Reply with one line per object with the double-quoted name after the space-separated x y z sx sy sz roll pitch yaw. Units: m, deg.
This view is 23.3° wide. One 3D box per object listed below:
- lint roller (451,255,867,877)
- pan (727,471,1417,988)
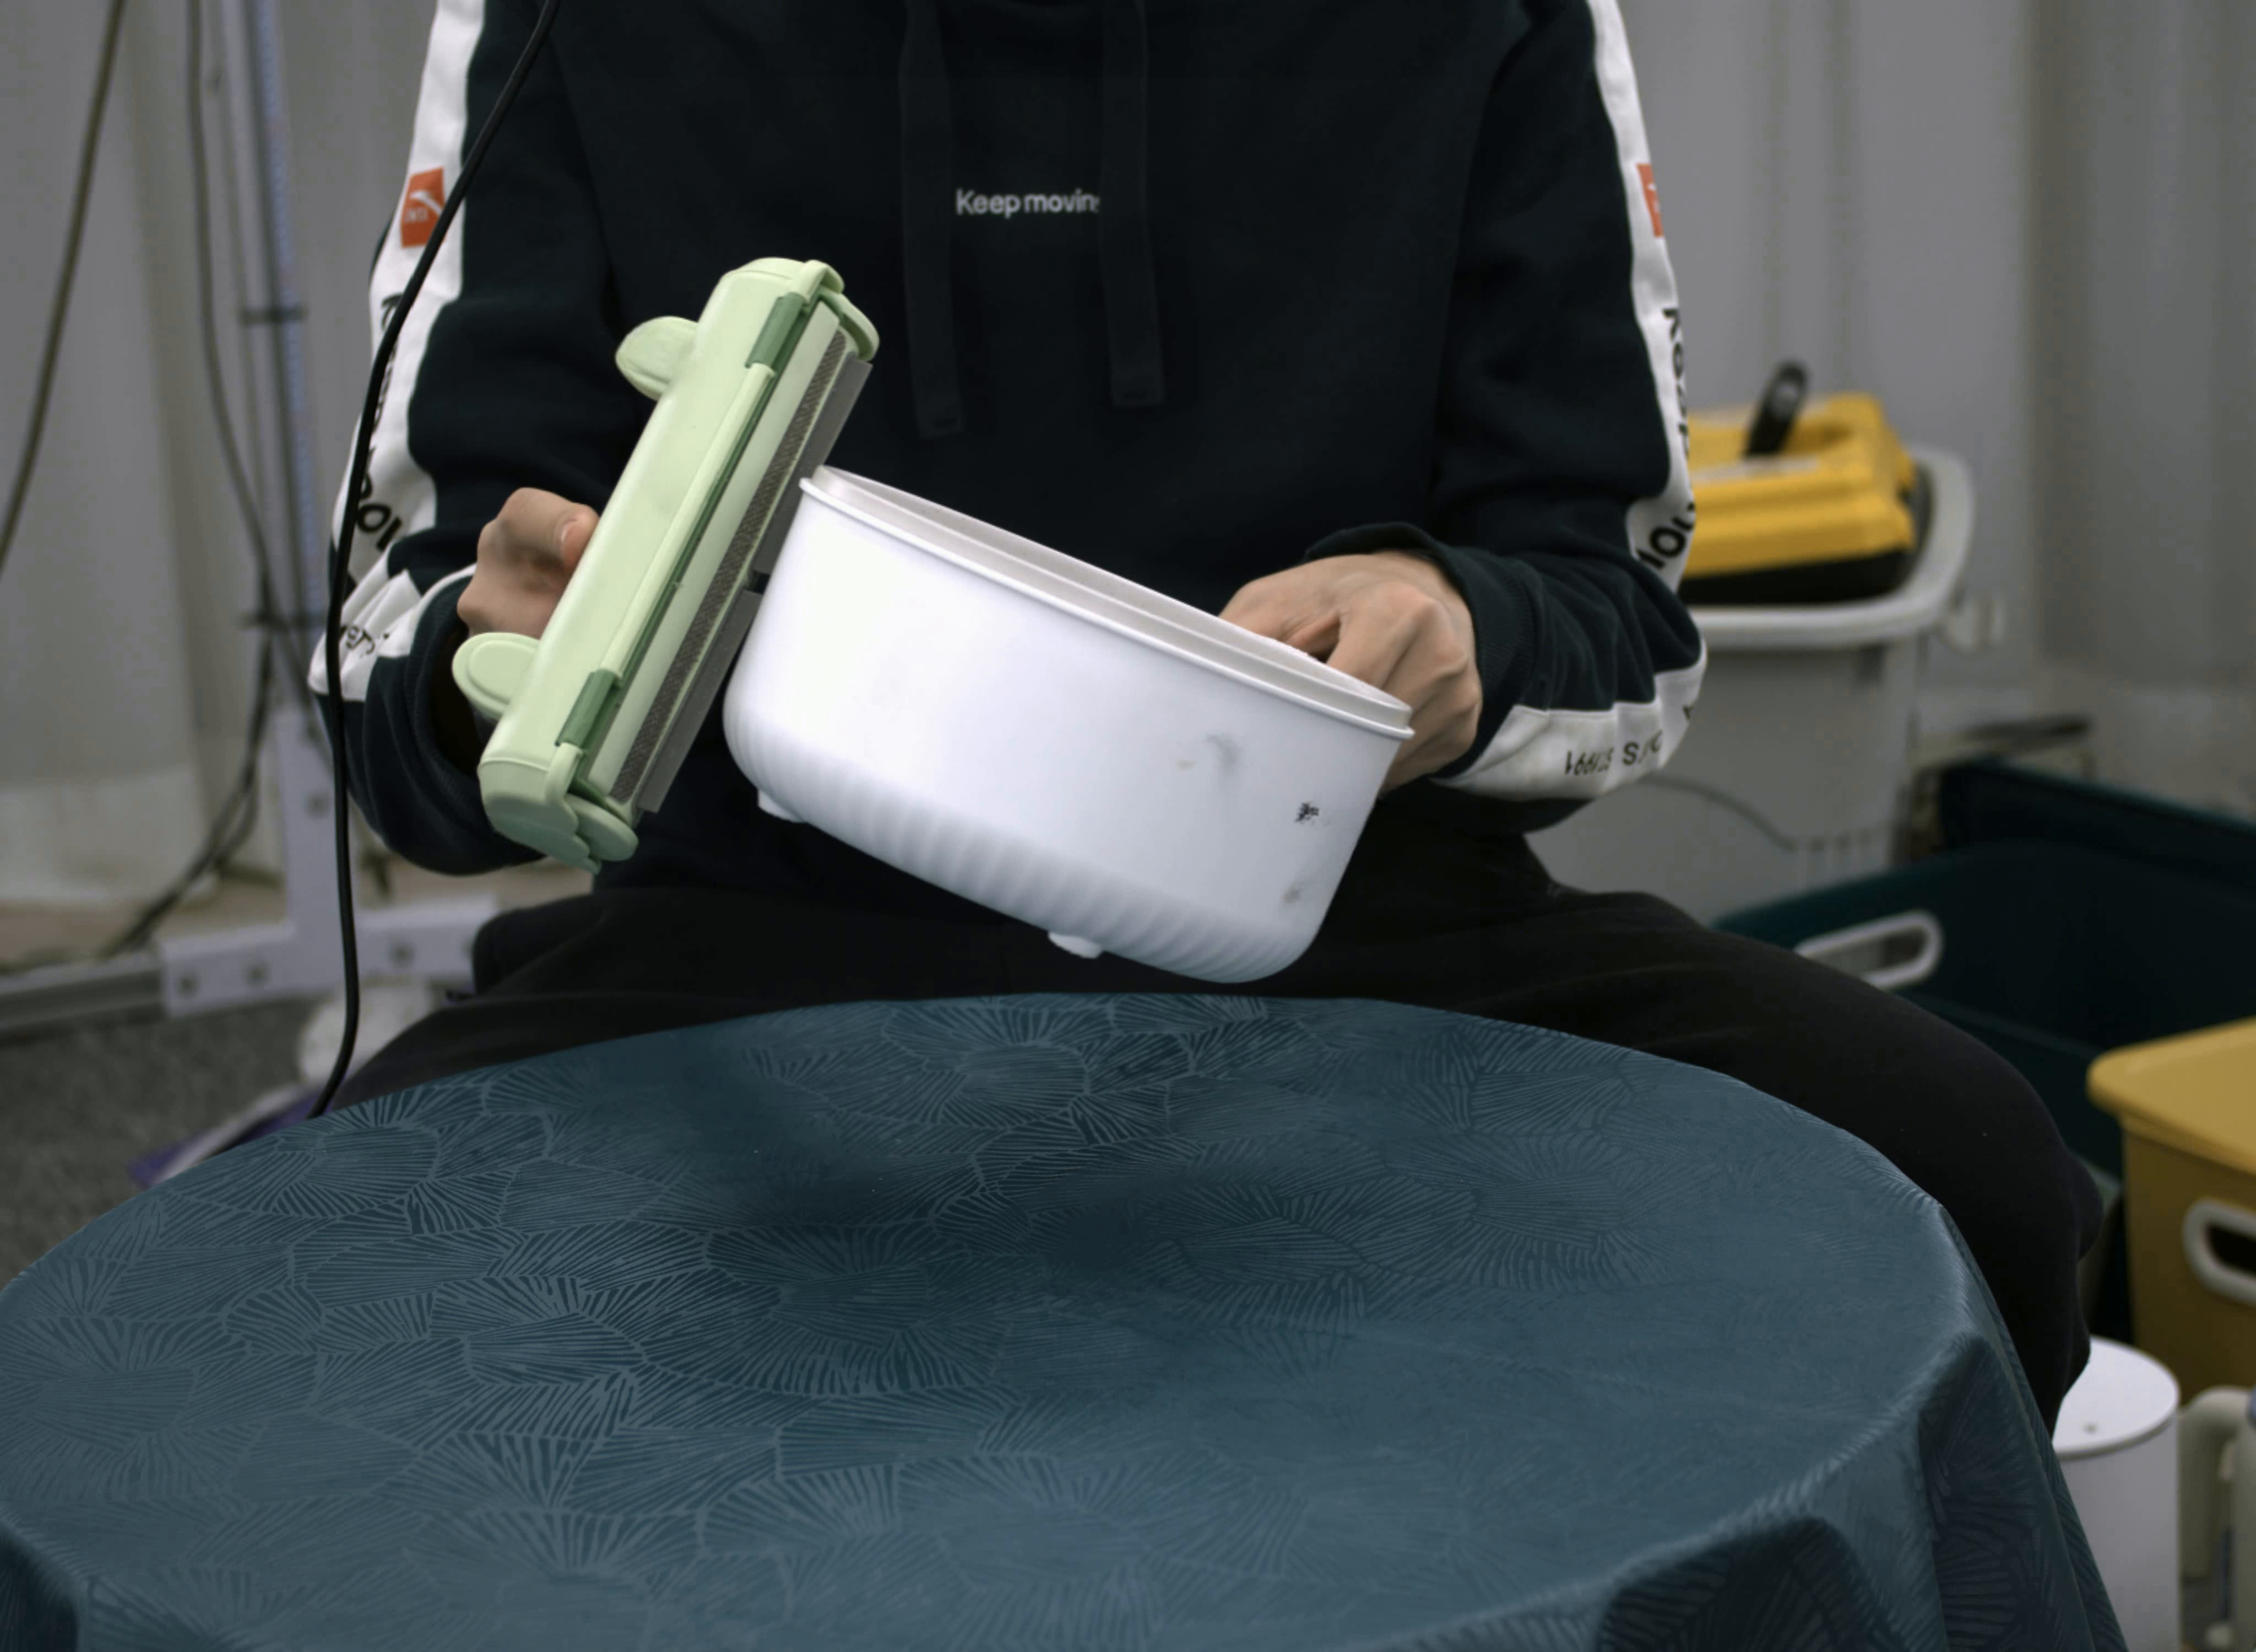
-0.165 -0.075 1.724 0.081 0.200 0.183 29 -20 -16 "lint roller"
0.005 -0.018 1.729 0.202 0.102 0.352 23 3 21 "pan"
